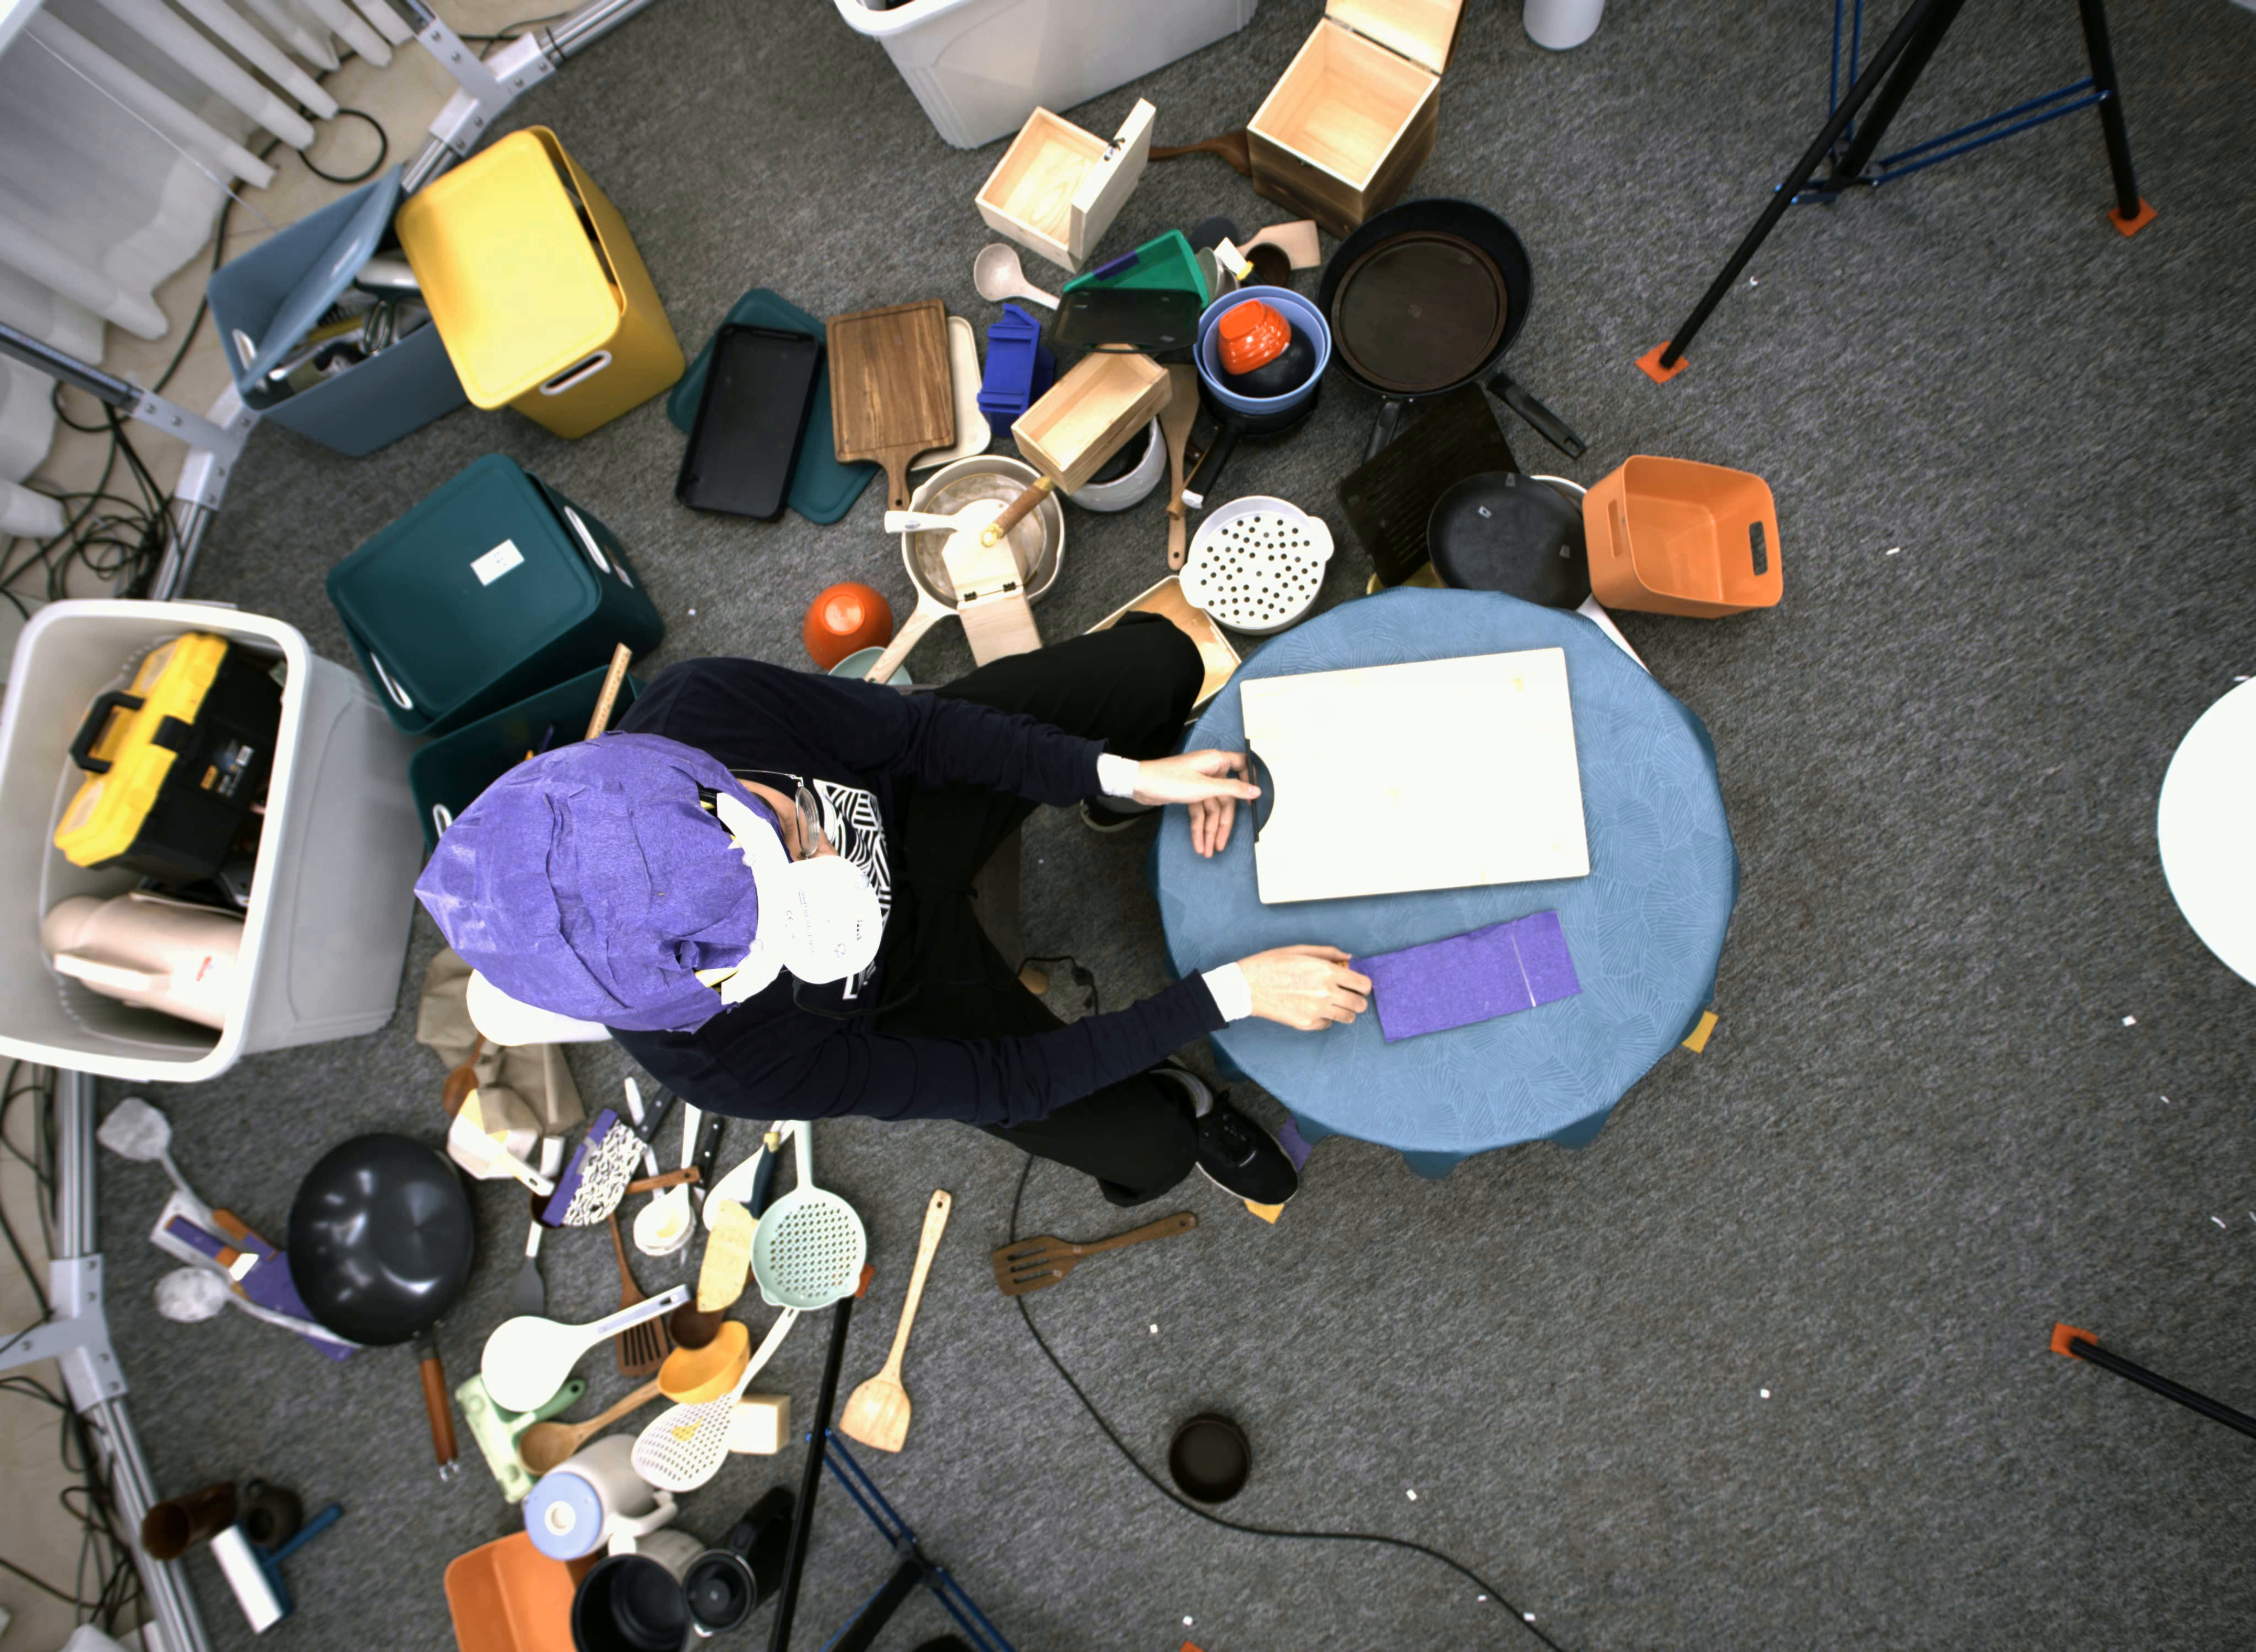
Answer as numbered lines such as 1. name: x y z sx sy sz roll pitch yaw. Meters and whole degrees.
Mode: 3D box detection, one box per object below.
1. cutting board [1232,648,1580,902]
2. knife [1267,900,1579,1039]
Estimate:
1. cutting board: 0.292 -0.054 1.448 0.350 0.023 0.249 -6 86 8
2. knife: 0.307 0.165 1.433 0.317 0.032 0.103 -16 84 8
